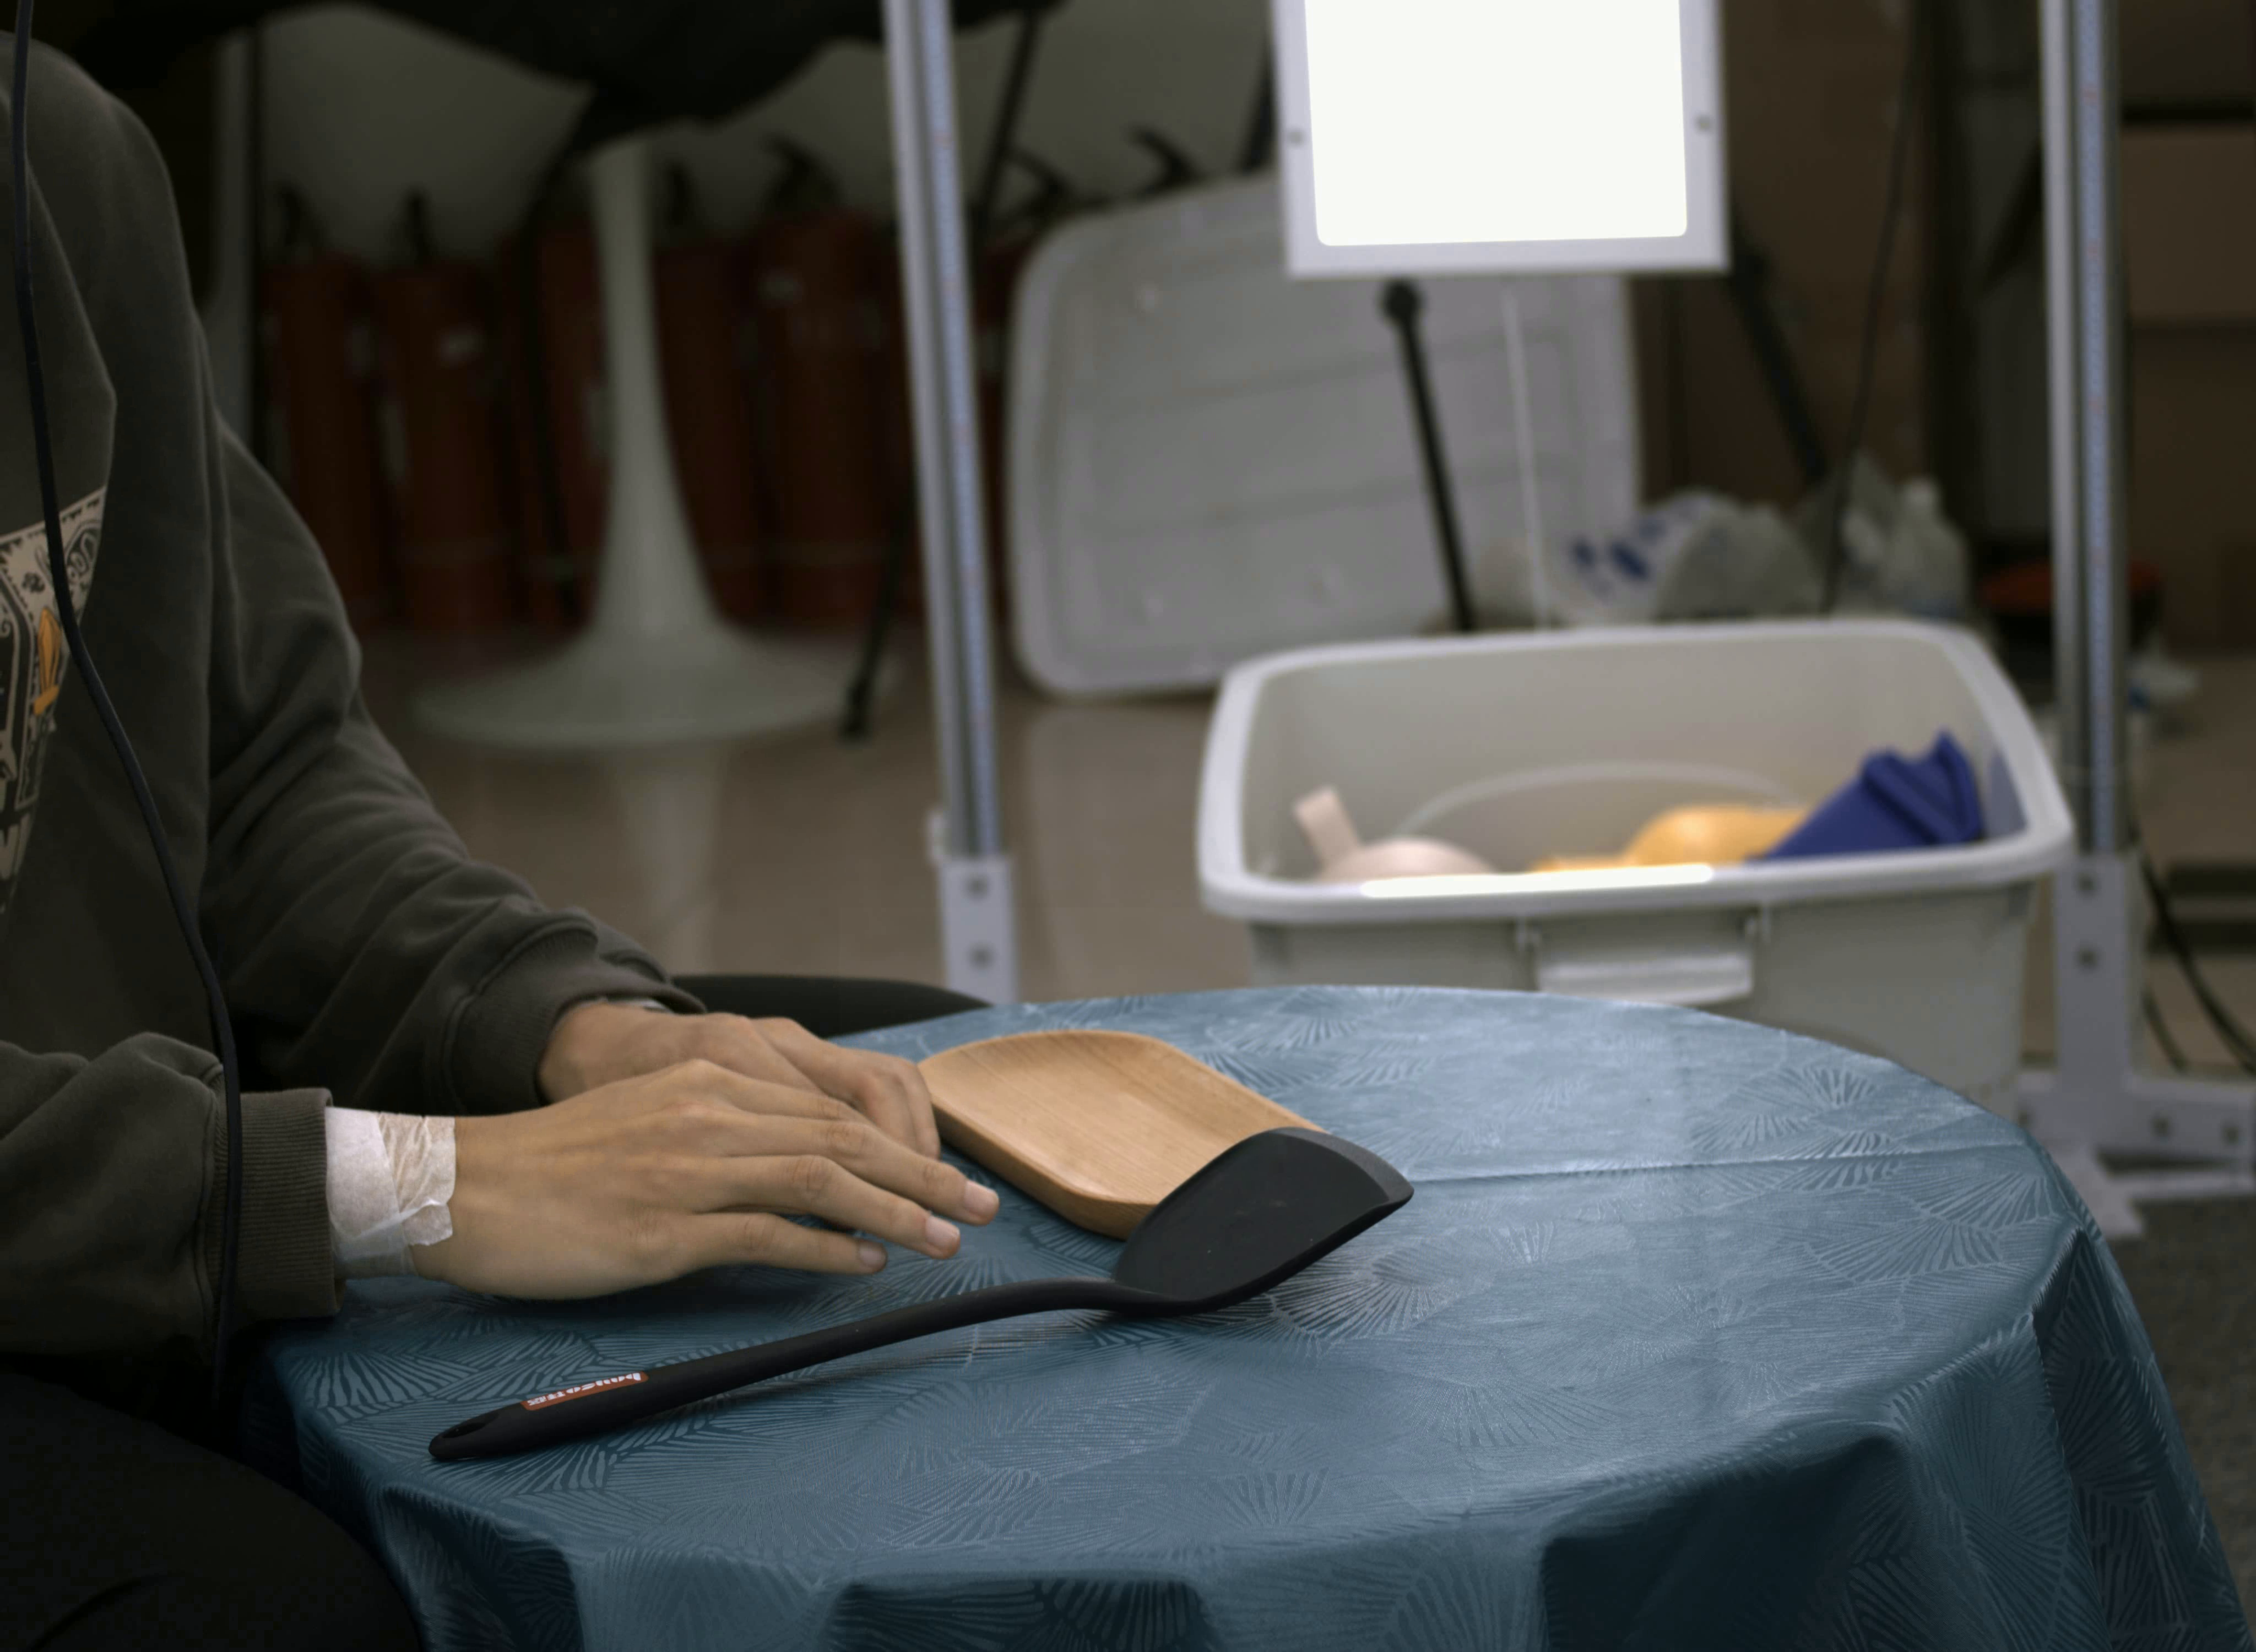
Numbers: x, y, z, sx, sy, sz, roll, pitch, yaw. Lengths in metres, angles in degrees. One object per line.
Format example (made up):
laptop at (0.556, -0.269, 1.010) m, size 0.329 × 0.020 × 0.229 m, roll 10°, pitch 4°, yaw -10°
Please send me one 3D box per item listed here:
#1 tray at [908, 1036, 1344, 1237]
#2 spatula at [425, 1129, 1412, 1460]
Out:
tray at (-0.003, 0.108, 1.938) m, size 0.100 × 0.020 × 0.234 m, roll -11°, pitch 16°, yaw -21°
spatula at (-0.068, 0.151, 1.744) m, size 0.320 × 0.040 × 0.101 m, roll -10°, pitch 13°, yaw -20°
